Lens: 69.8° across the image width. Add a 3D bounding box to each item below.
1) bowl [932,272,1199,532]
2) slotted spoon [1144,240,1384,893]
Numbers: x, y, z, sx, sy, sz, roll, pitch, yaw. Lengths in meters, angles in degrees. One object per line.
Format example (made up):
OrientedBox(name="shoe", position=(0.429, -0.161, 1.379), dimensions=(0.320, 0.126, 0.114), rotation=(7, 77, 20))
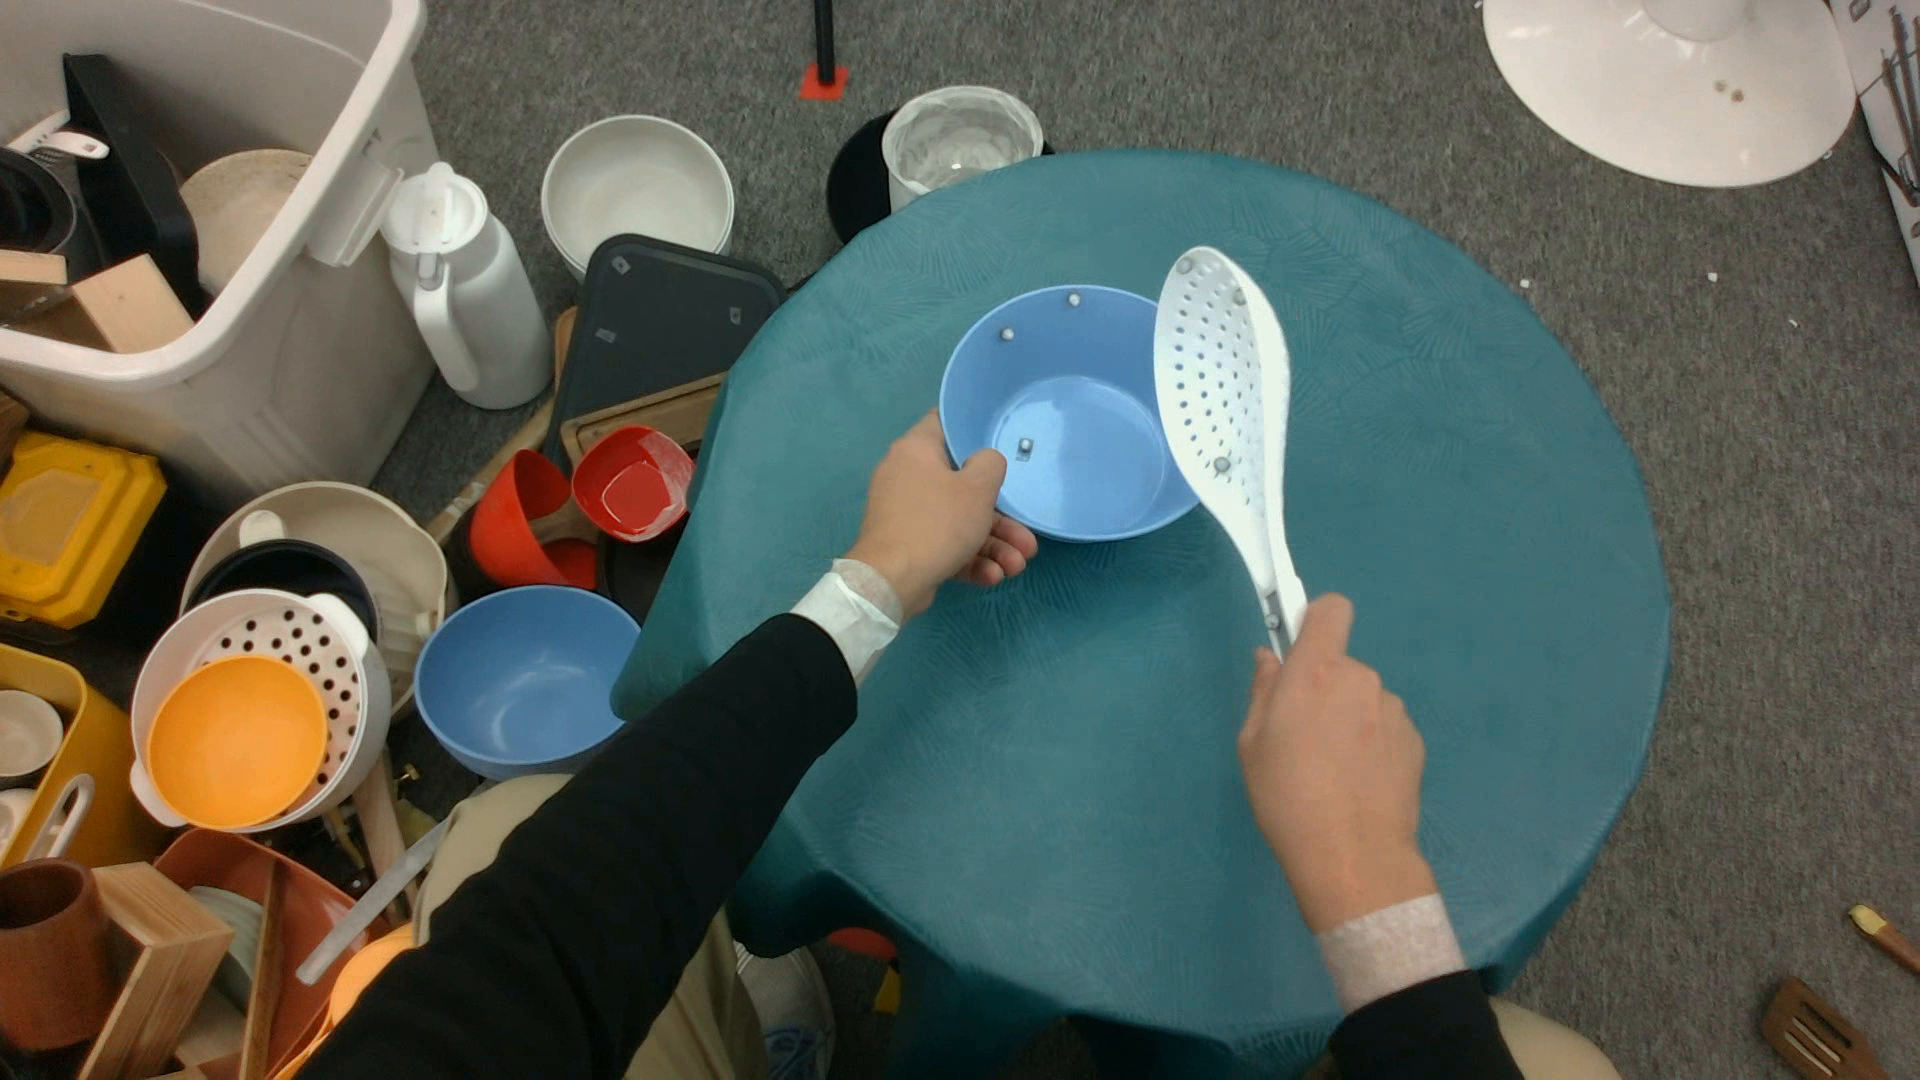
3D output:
OrientedBox(name="bowl", position=(0.069, -0.072, 0.839), dimensions=(0.176, 0.070, 0.176), rotation=(1, 65, -3))
OrientedBox(name="slotted spoon", position=(0.156, 0.005, 0.713), dimensions=(0.046, 0.135, 0.350), rotation=(-4, 70, -11))
